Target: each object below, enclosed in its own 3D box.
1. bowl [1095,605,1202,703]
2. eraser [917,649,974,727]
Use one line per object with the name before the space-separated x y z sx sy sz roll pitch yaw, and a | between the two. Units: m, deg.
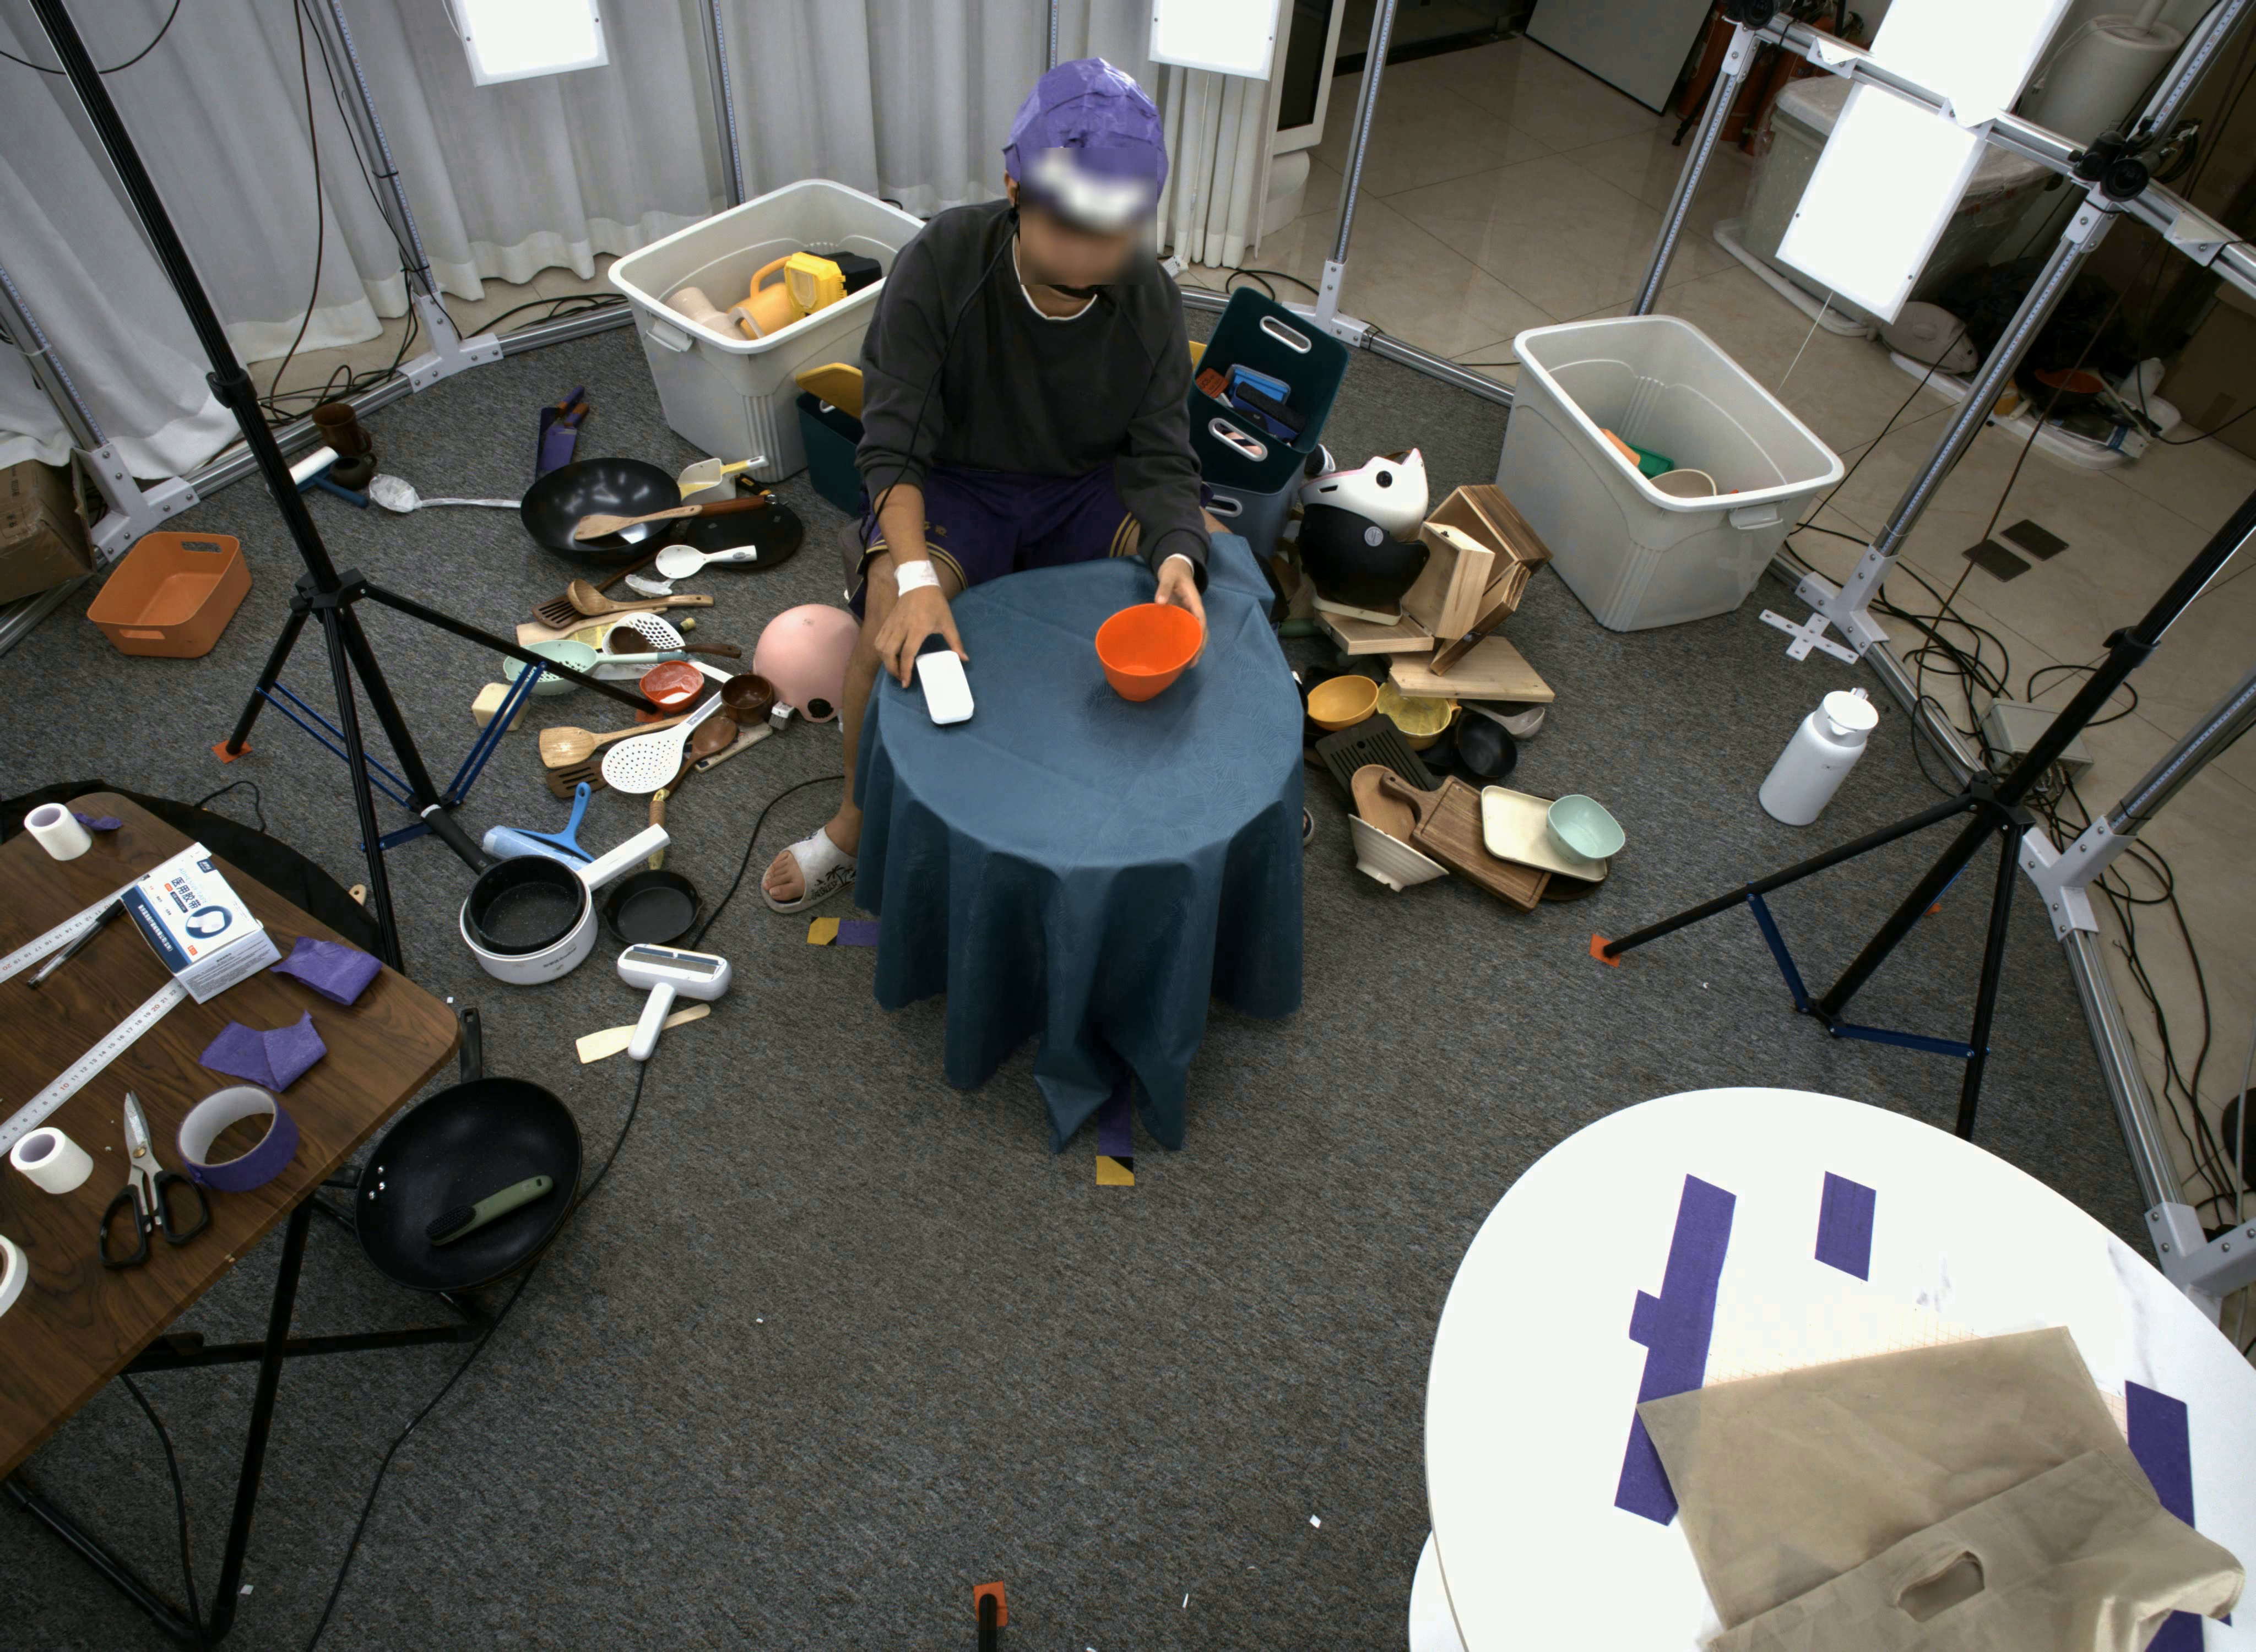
bowl | 0.027 -0.232 1.806 0.148 0.102 0.152 1 49 -2
eraser | -0.254 -0.196 1.798 0.063 0.034 0.134 -9 52 -12
